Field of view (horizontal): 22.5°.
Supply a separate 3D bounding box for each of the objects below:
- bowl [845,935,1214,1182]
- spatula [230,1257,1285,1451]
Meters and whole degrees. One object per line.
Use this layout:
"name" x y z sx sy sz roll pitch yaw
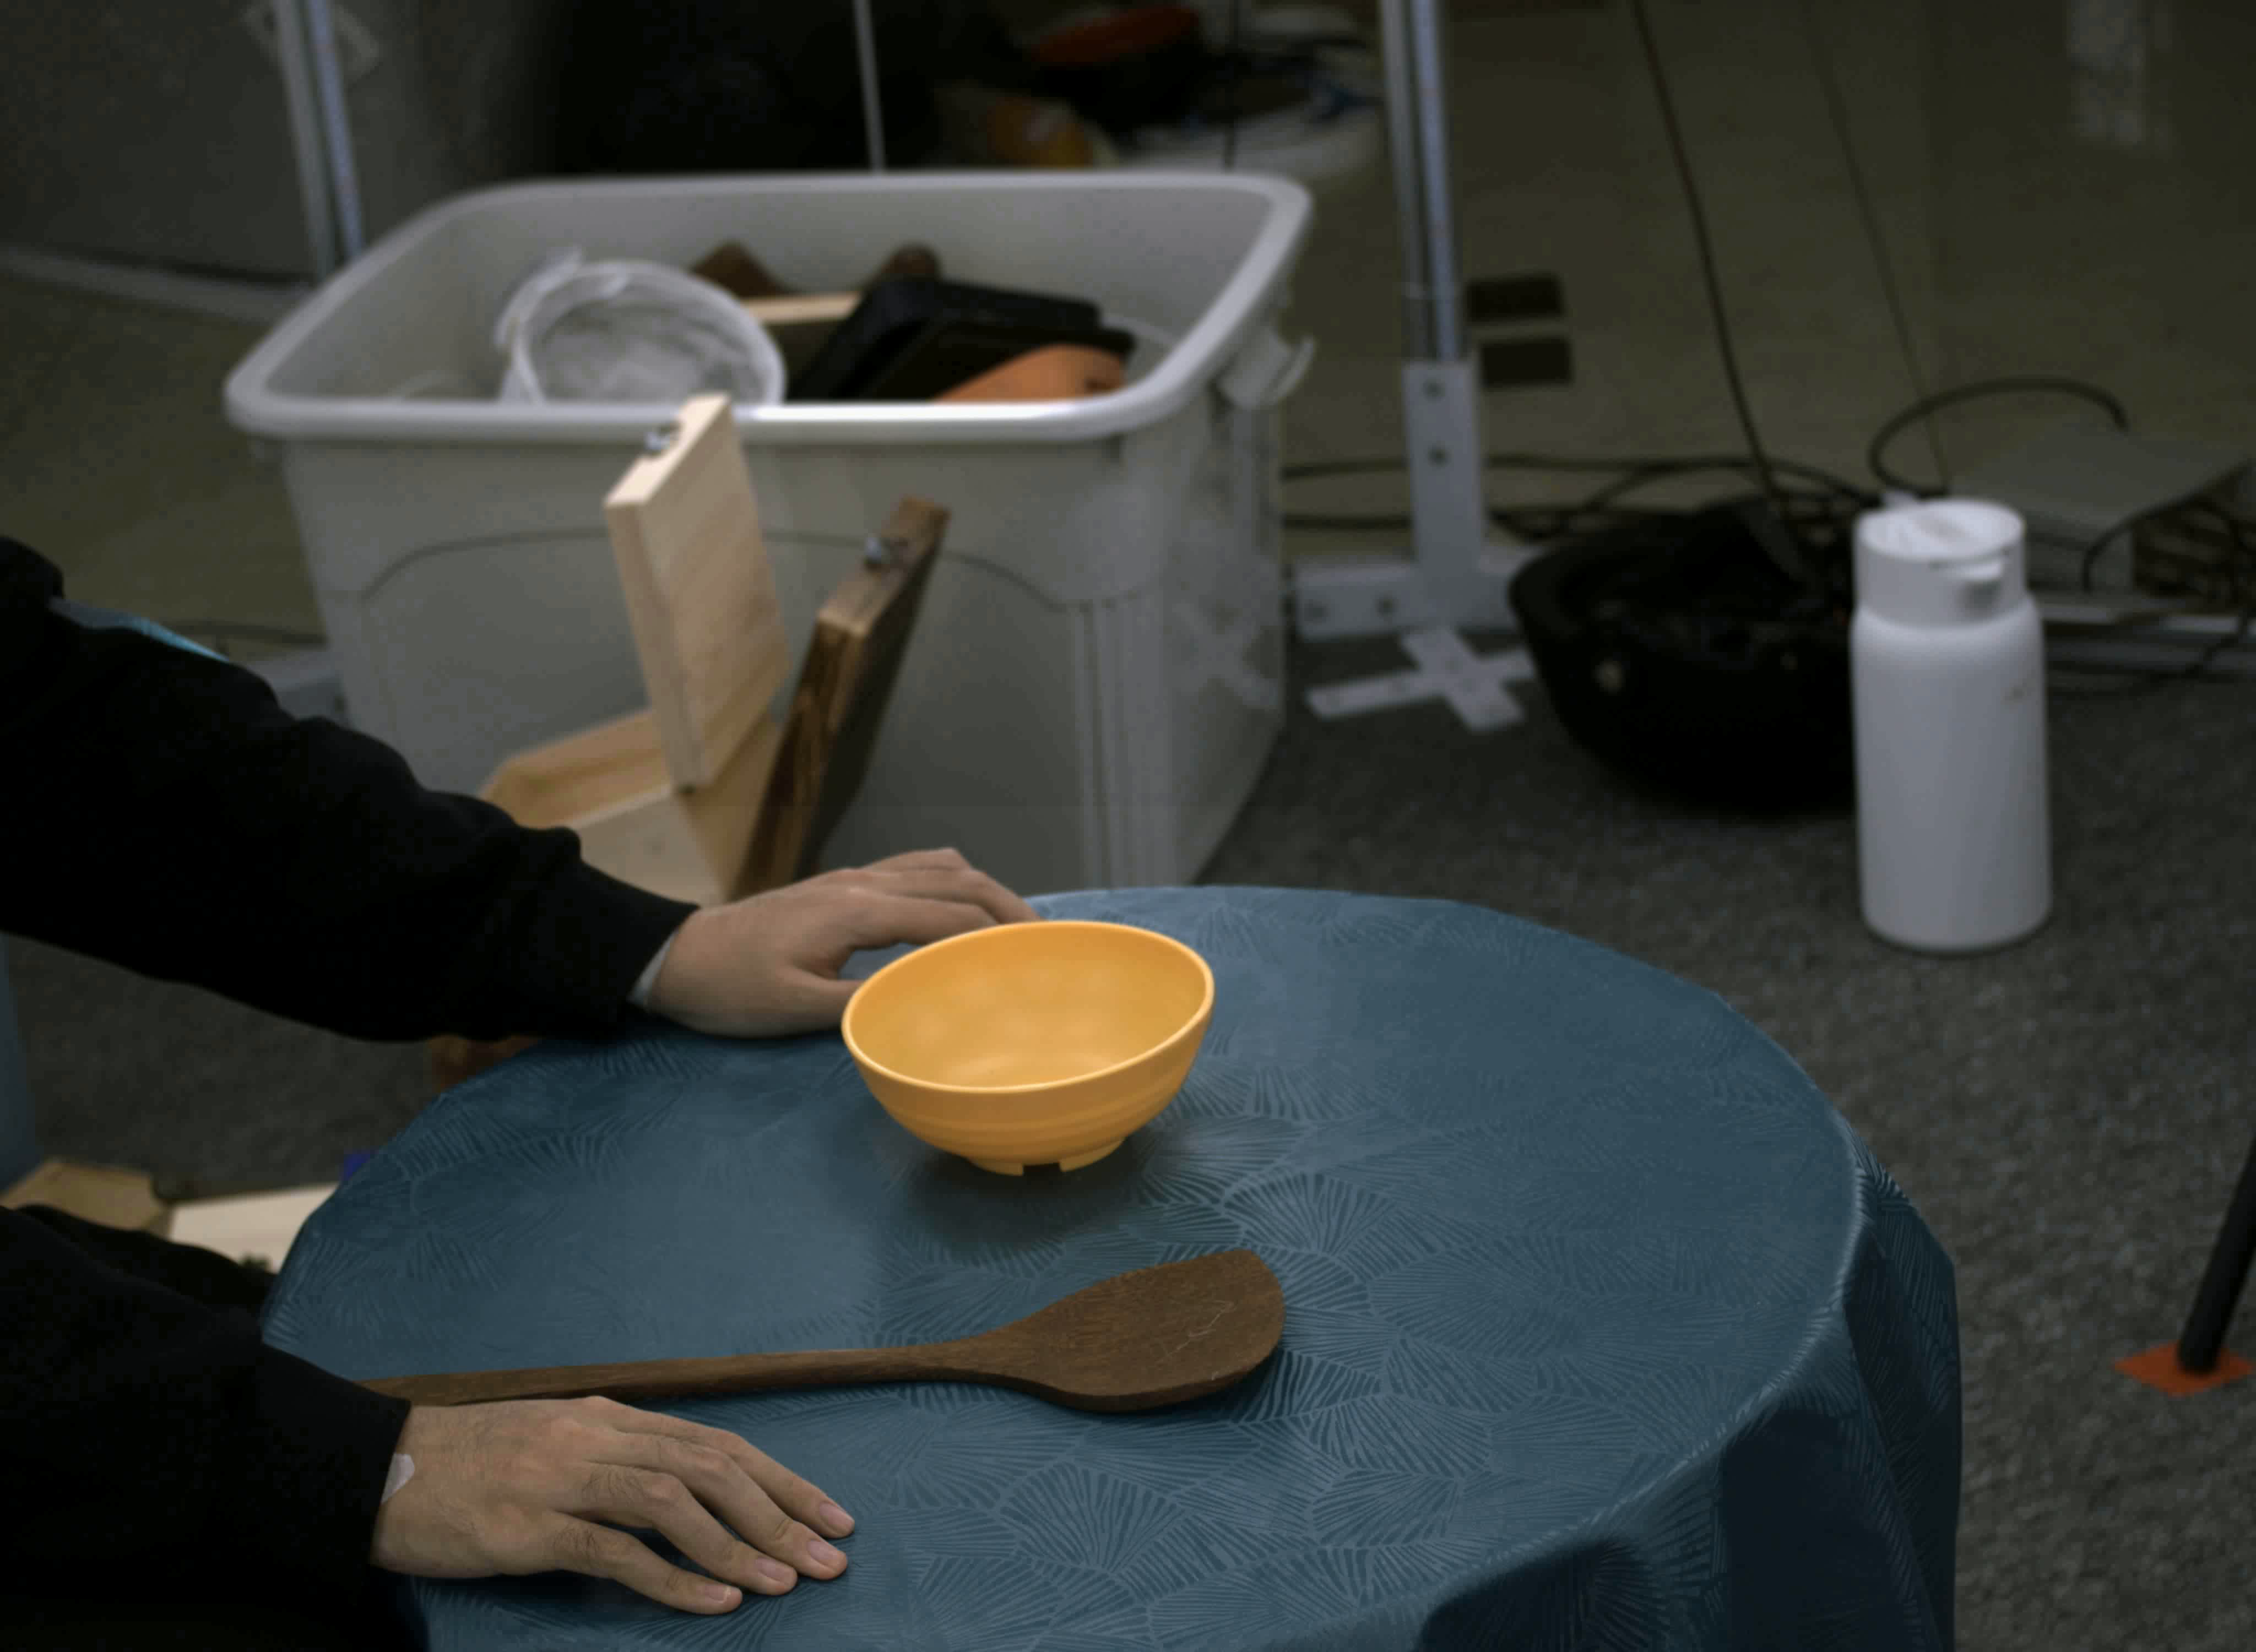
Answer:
"bowl" -0.035 0.097 2.186 0.145 0.061 0.143 -6 23 3
"spatula" -0.135 0.197 2.046 0.385 0.016 0.095 -5 24 3
